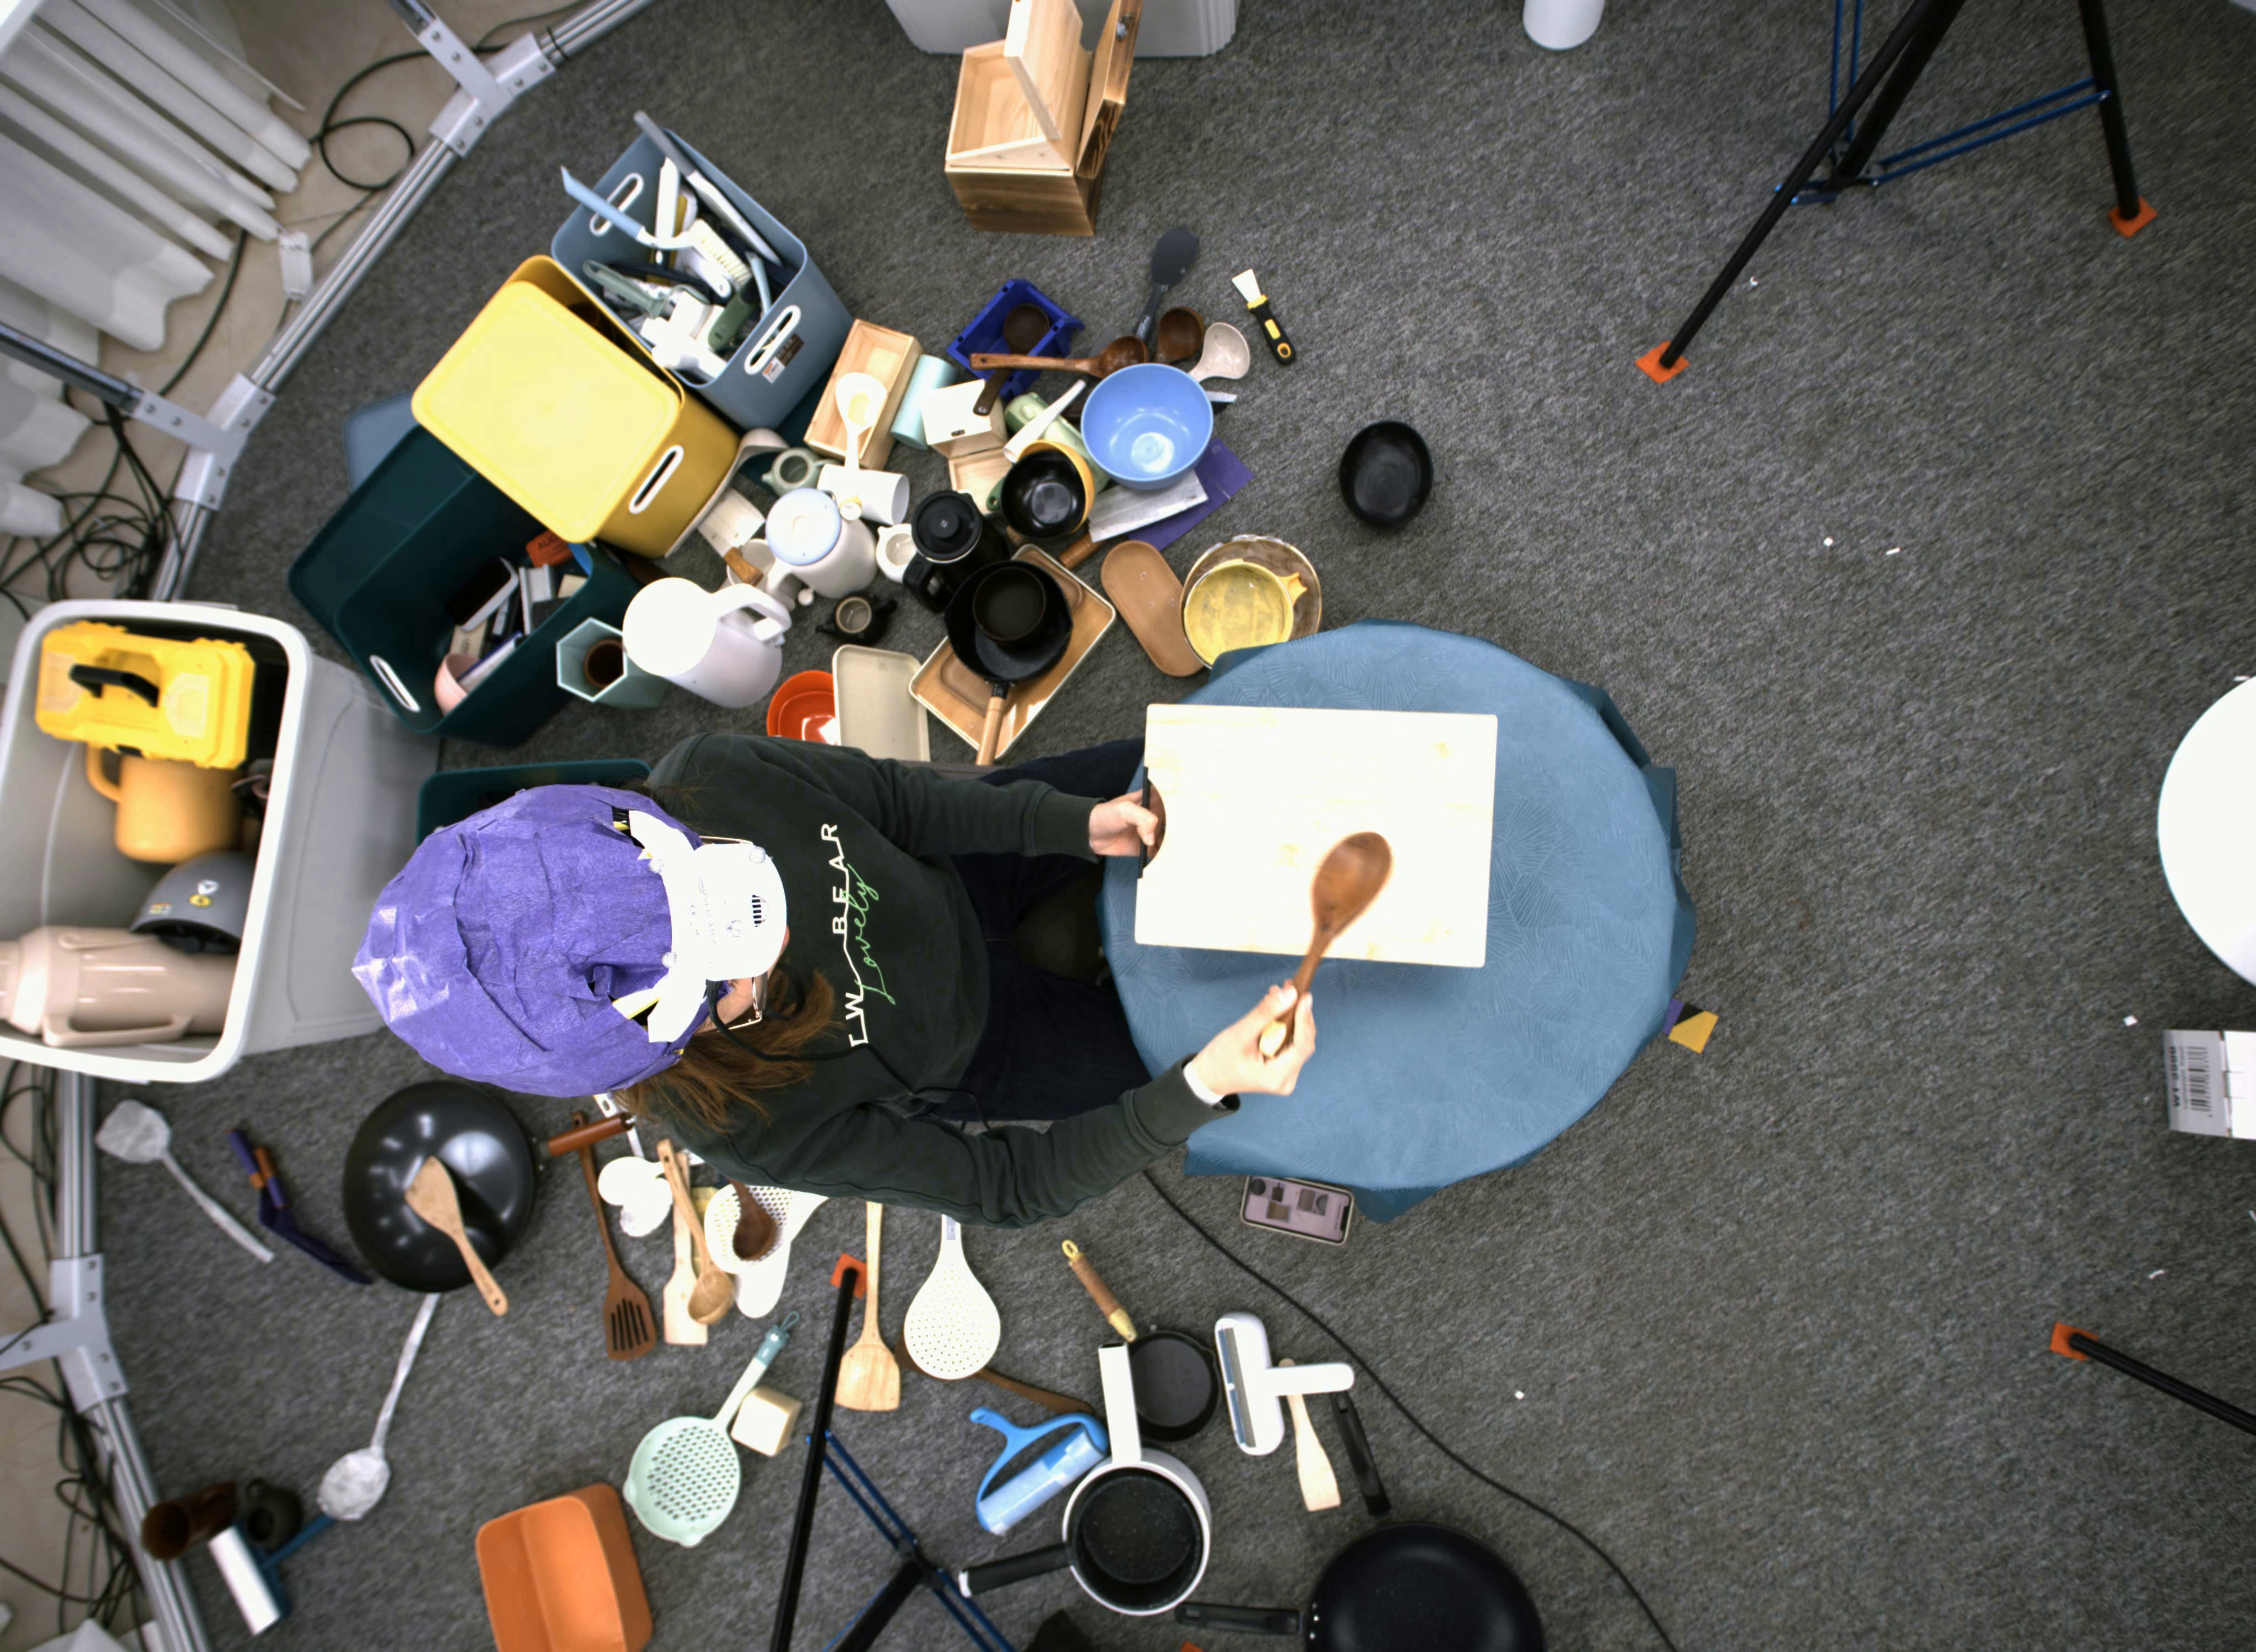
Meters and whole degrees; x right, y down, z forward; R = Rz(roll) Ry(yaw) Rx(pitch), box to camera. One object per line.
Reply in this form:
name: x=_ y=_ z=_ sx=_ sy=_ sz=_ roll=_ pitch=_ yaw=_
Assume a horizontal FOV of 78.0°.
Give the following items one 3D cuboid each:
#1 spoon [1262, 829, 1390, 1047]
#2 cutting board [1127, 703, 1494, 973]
spoon: x=0.163 y=0.092 z=1.175 sx=0.076 sy=0.017 sz=0.212 roll=8 pitch=61 yaw=43
cutting board: x=0.176 y=0.007 z=1.353 sx=0.350 sy=0.023 sz=0.250 roll=2 pitch=90 yaw=13
